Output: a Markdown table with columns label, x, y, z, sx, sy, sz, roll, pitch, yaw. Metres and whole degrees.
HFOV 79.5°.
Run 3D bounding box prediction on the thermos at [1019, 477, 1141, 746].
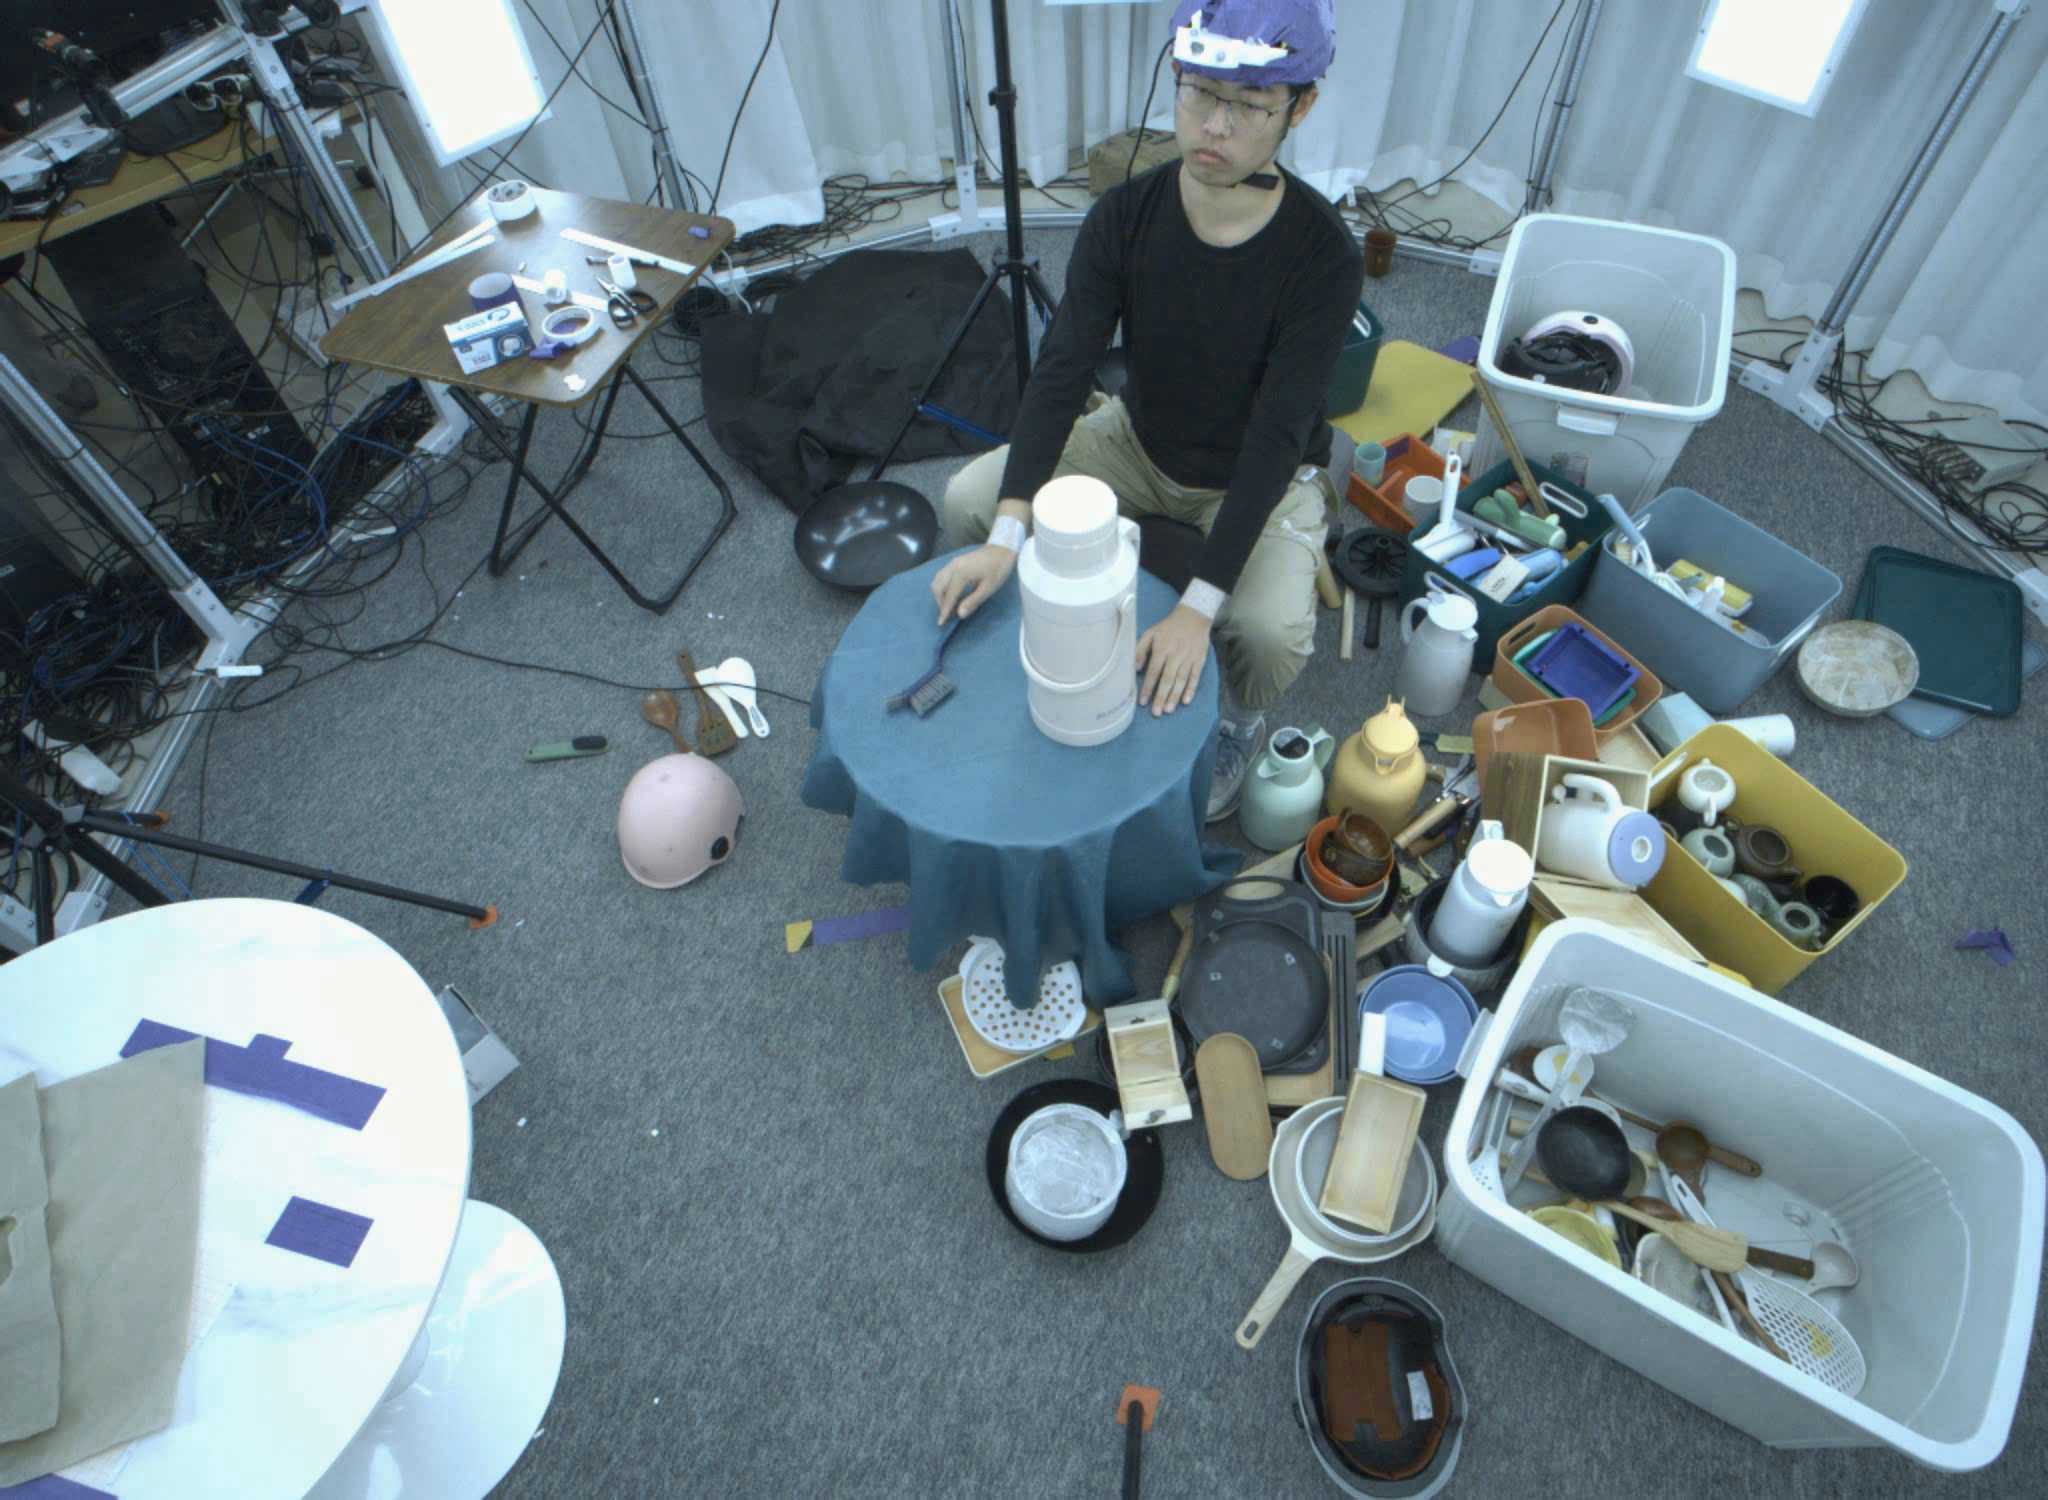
| label | x | y | z | sx | sy | sz | roll | pitch | yaw |
| --- | --- | --- | --- | --- | --- | --- | --- | --- | --- |
| thermos | 0.088 | -0.193 | 1.676 | 0.172 | 0.411 | 0.208 | 32 | 63 | 25 |

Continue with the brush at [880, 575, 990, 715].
| label | x | y | z | sx | sy | sz | roll | pitch | yaw |
| --- | --- | --- | --- | --- | --- | --- | --- | --- | --- |
| brush | -0.130 | -0.167 | 1.890 | 0.095 | 0.034 | 0.272 | 15 | 59 | 11 |
